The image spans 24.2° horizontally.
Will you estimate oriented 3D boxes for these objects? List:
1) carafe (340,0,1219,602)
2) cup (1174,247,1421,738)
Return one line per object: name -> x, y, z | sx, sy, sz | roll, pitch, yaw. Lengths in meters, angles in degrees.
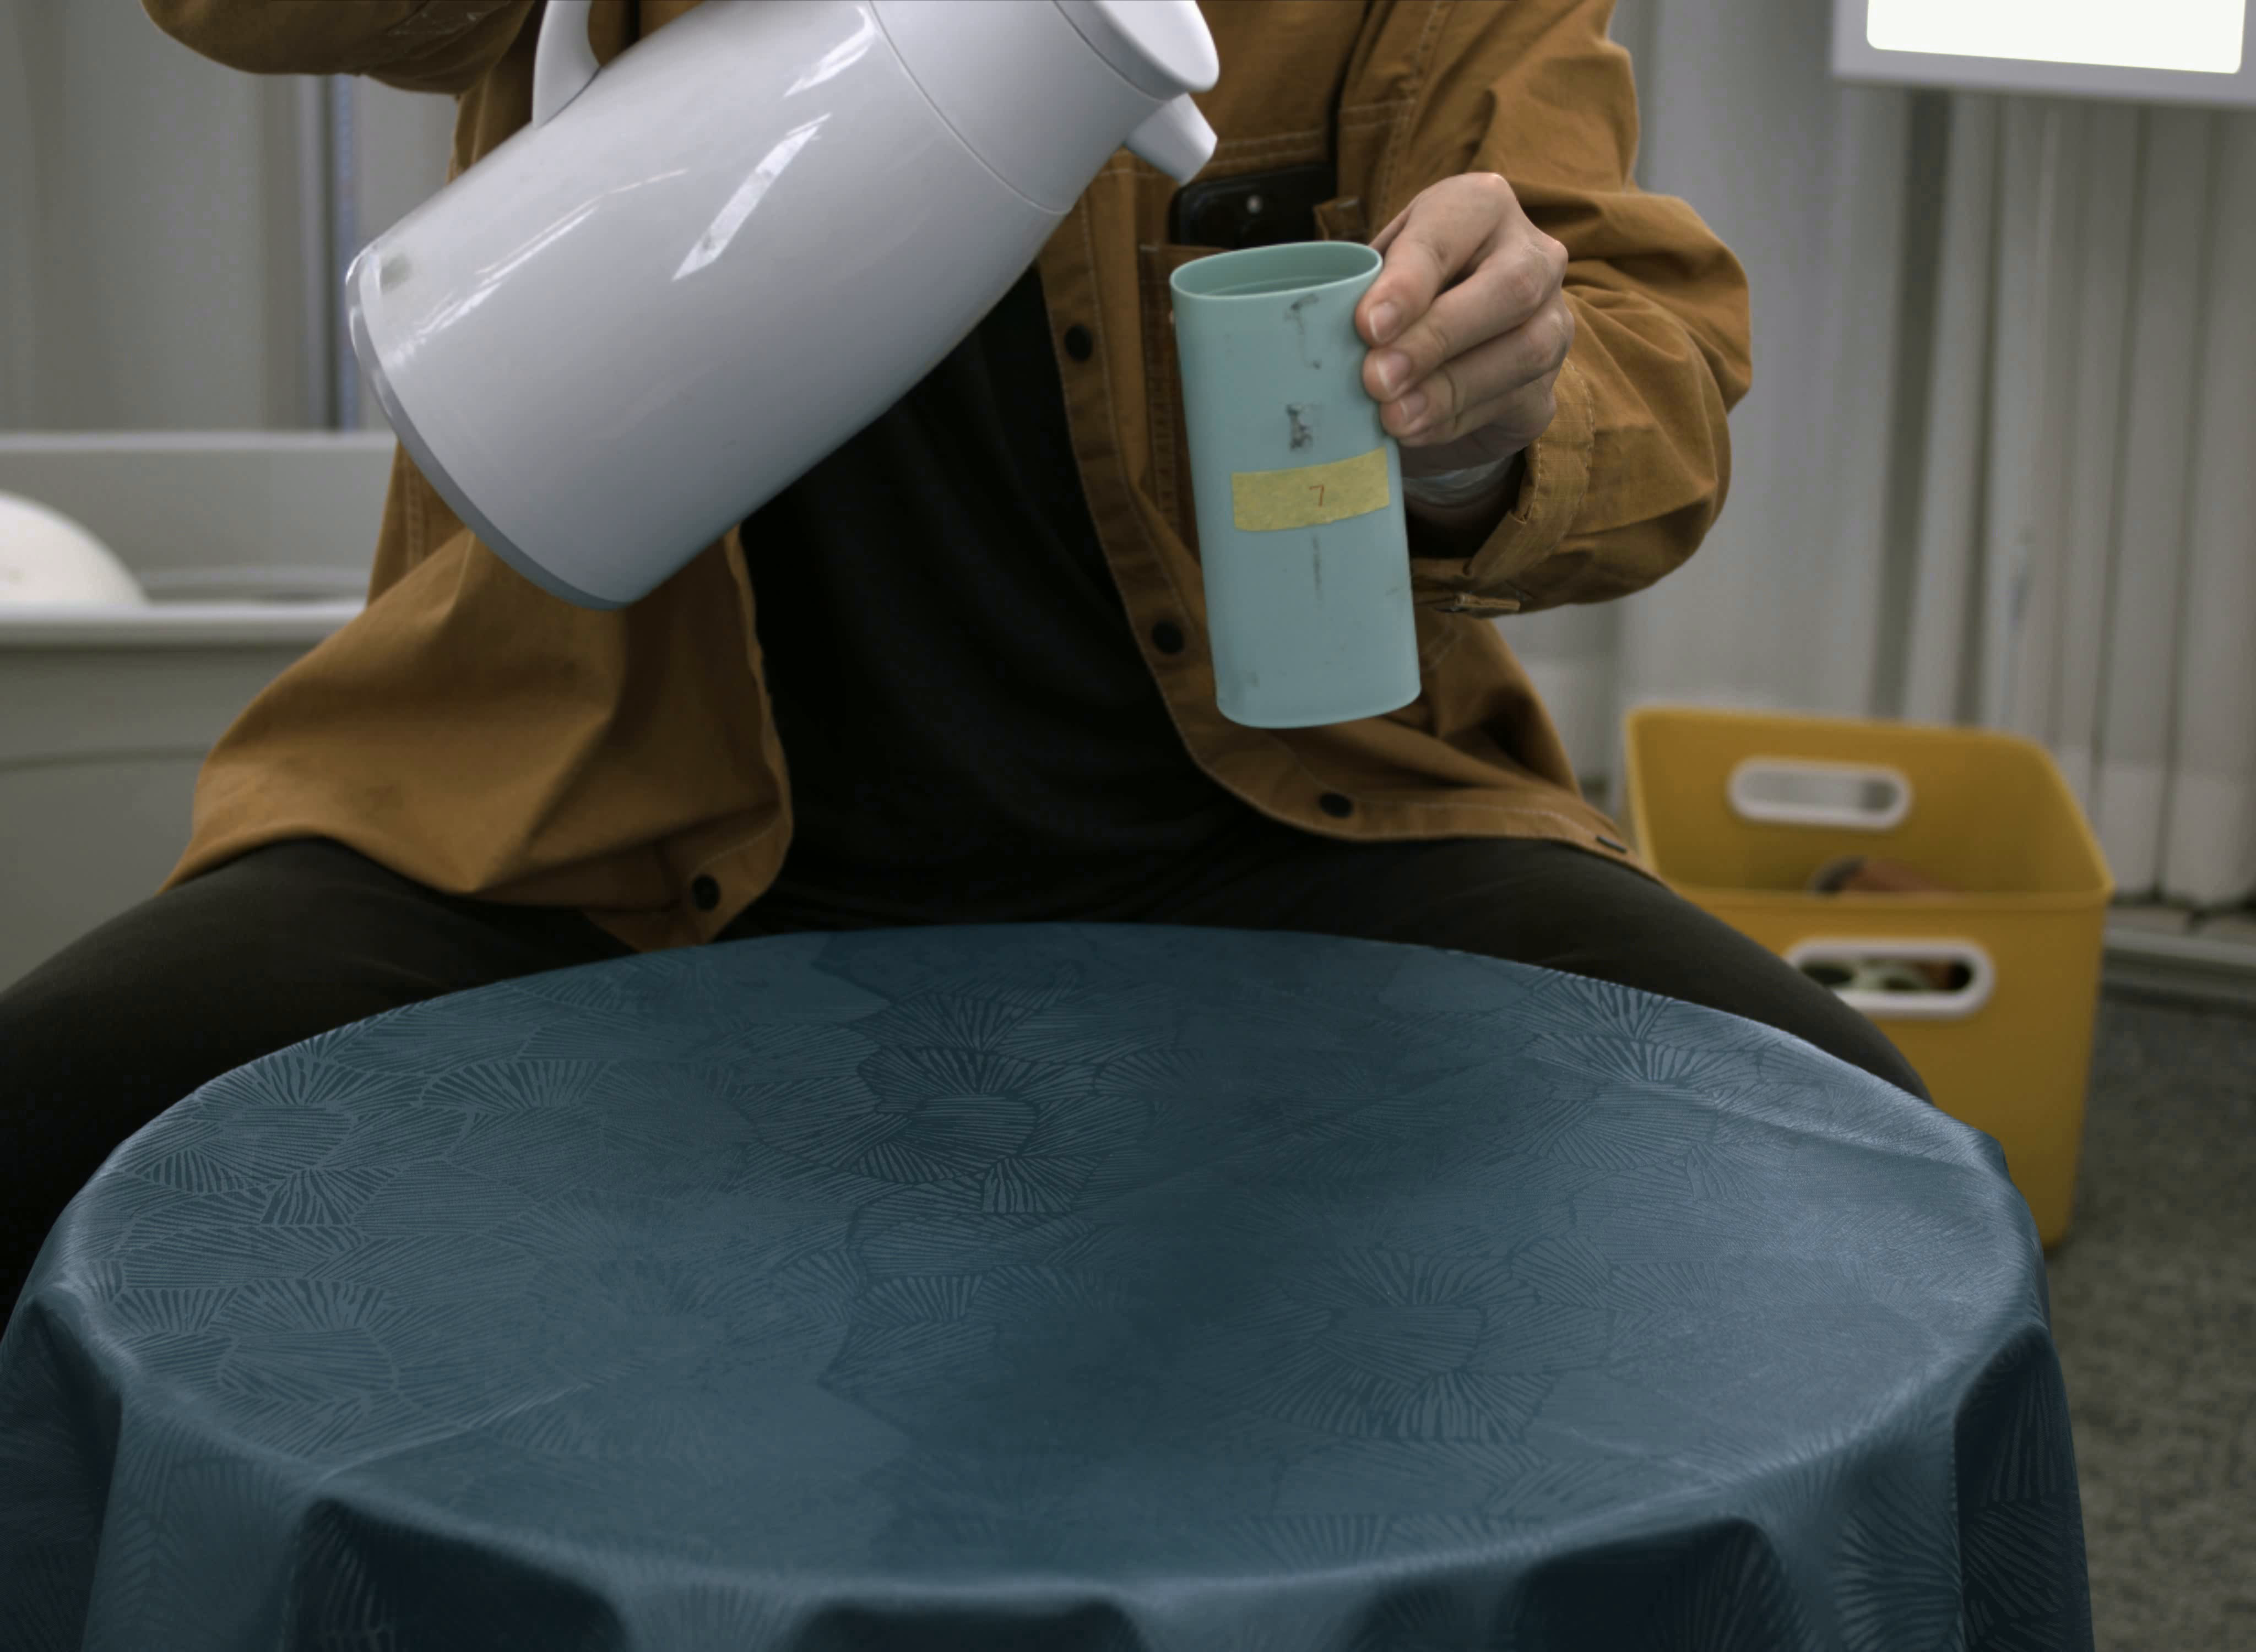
carafe -> -0.105, -0.200, 1.512 | 0.248, 0.169, 0.132 | -35, 17, 20
cup -> 0.050, -0.099, 1.539 | 0.066, 0.133, 0.066 | -5, 20, 2
